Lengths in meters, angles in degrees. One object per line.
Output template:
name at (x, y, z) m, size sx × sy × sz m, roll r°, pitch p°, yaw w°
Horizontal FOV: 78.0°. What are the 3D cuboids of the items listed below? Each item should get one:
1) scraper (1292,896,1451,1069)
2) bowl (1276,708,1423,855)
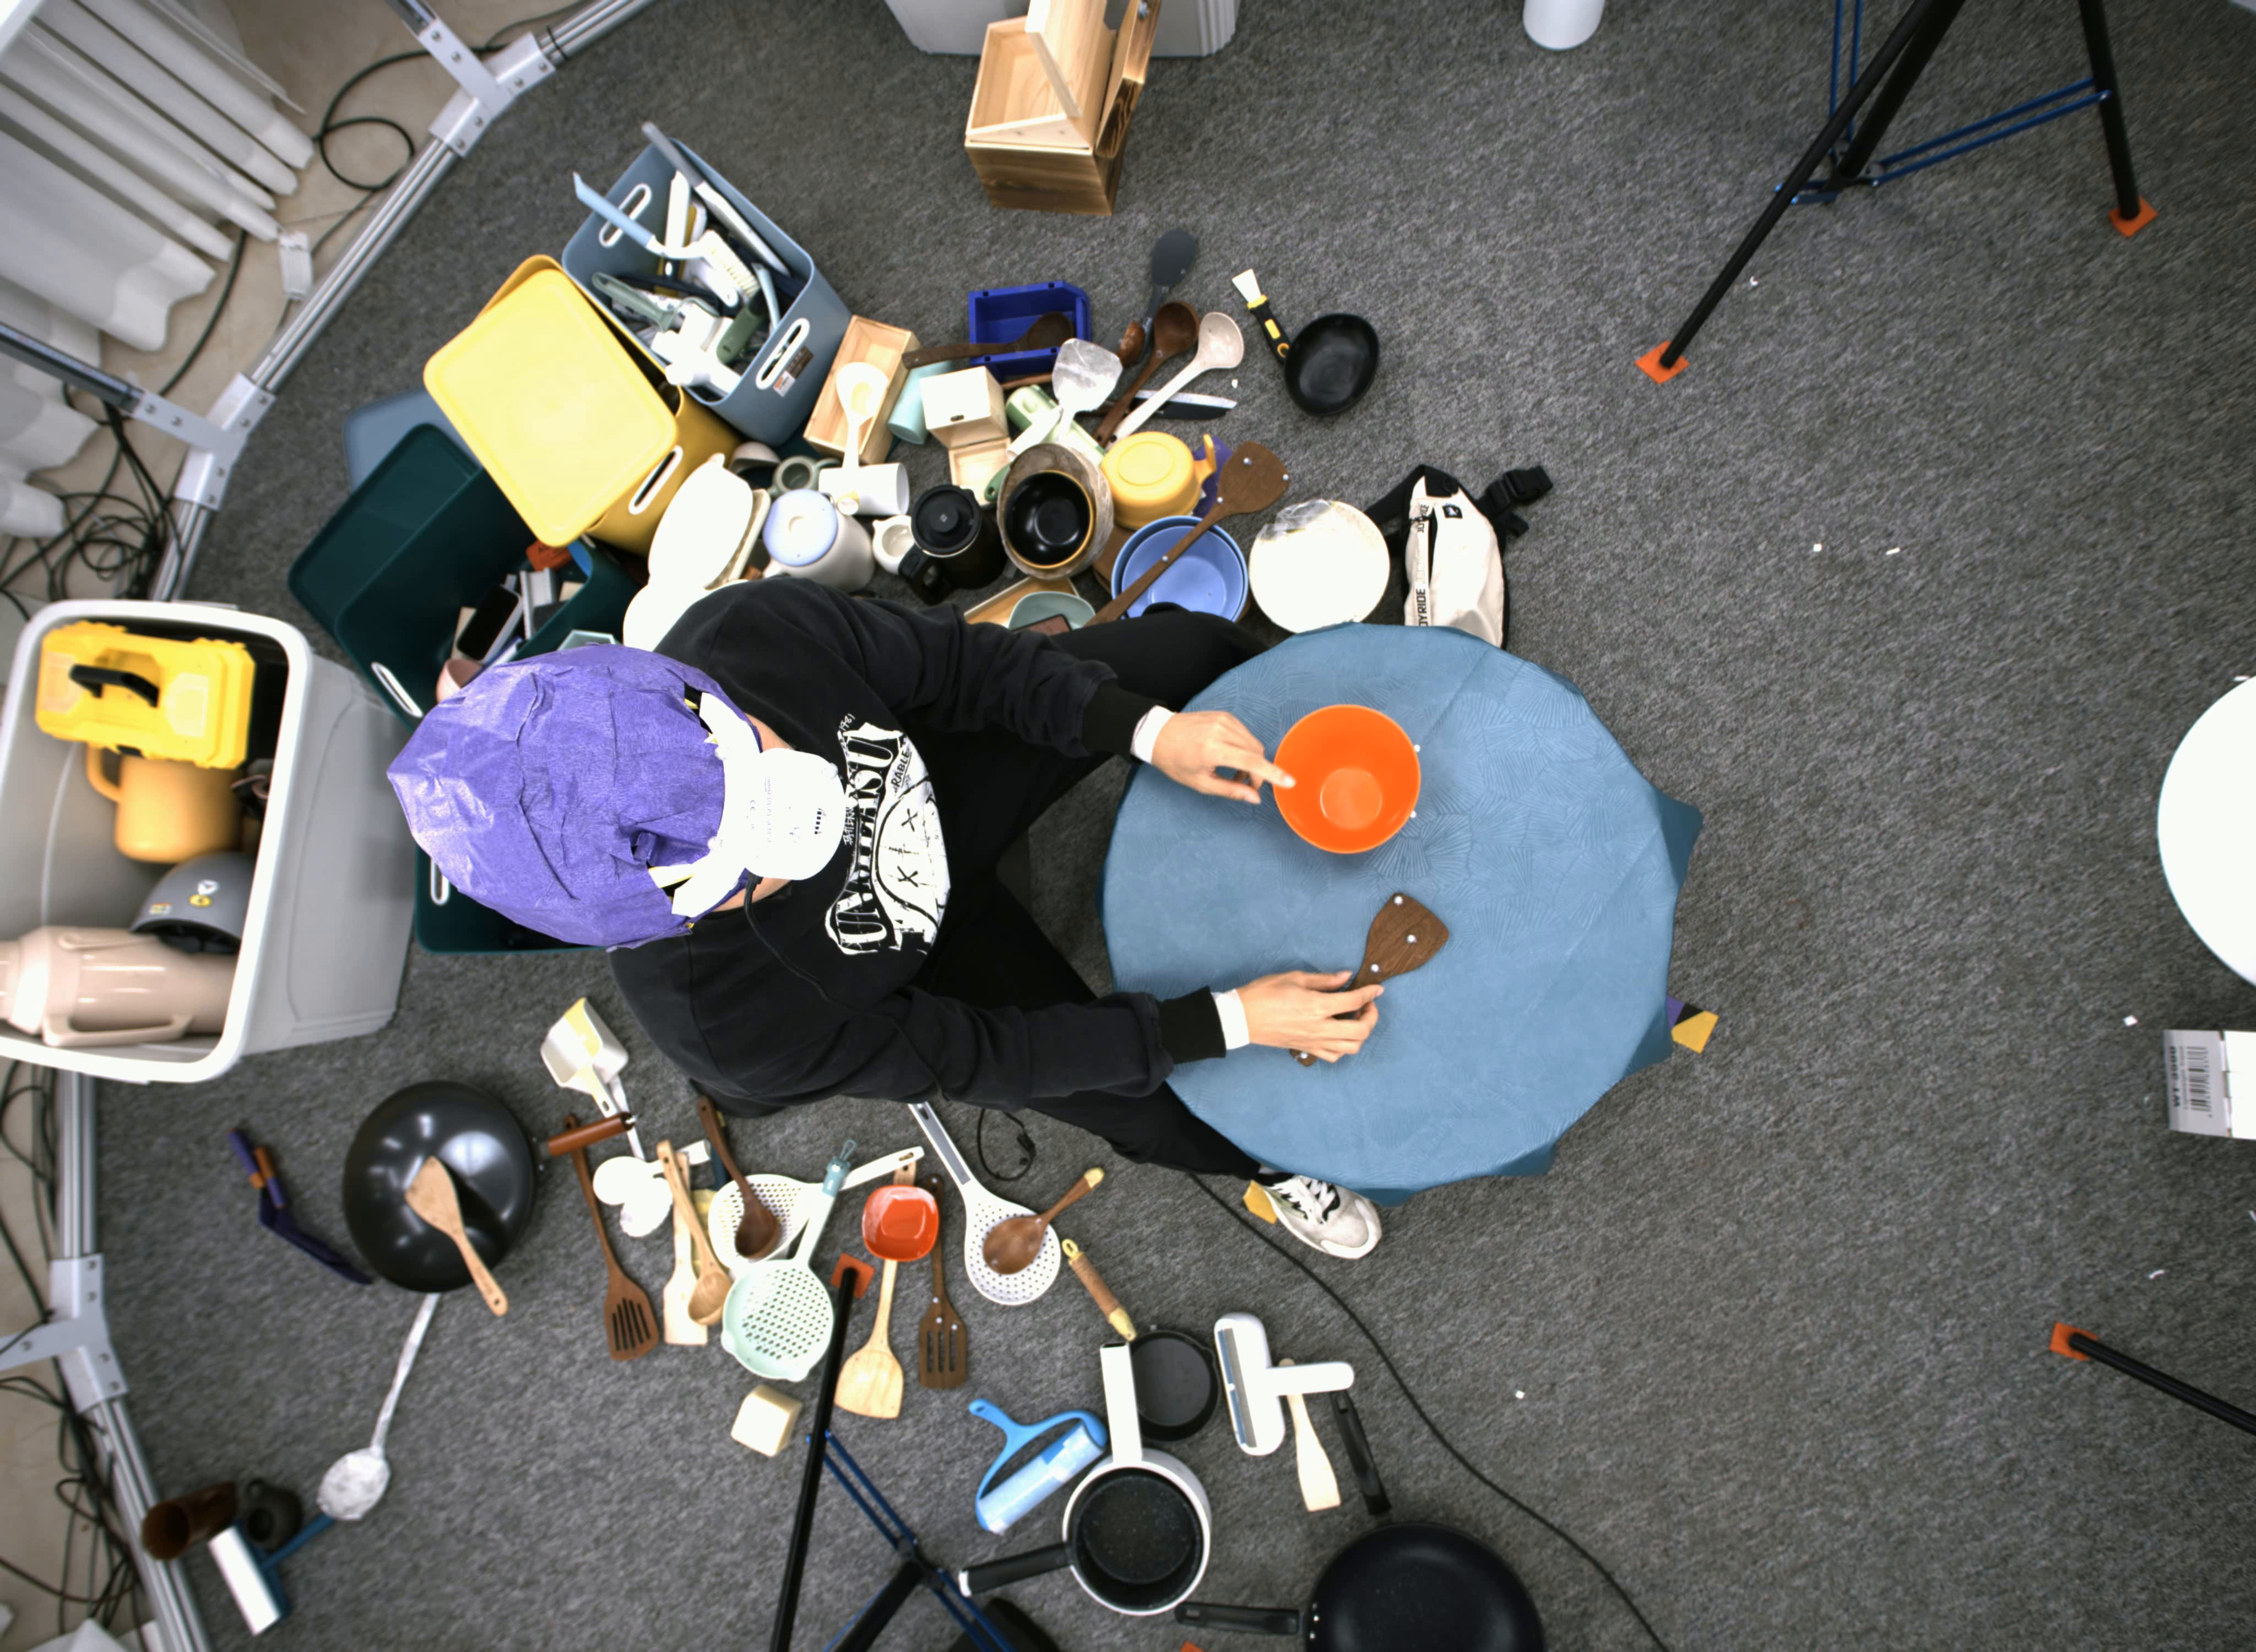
scraper at (0.248, 0.169, 1.458) m, size 0.075 × 0.011 × 0.212 m, roll 41°, pitch 95°, yaw 11°
bowl at (0.230, -0.042, 1.429) m, size 0.148 × 0.105 × 0.147 m, roll -1°, pitch 85°, yaw 10°
